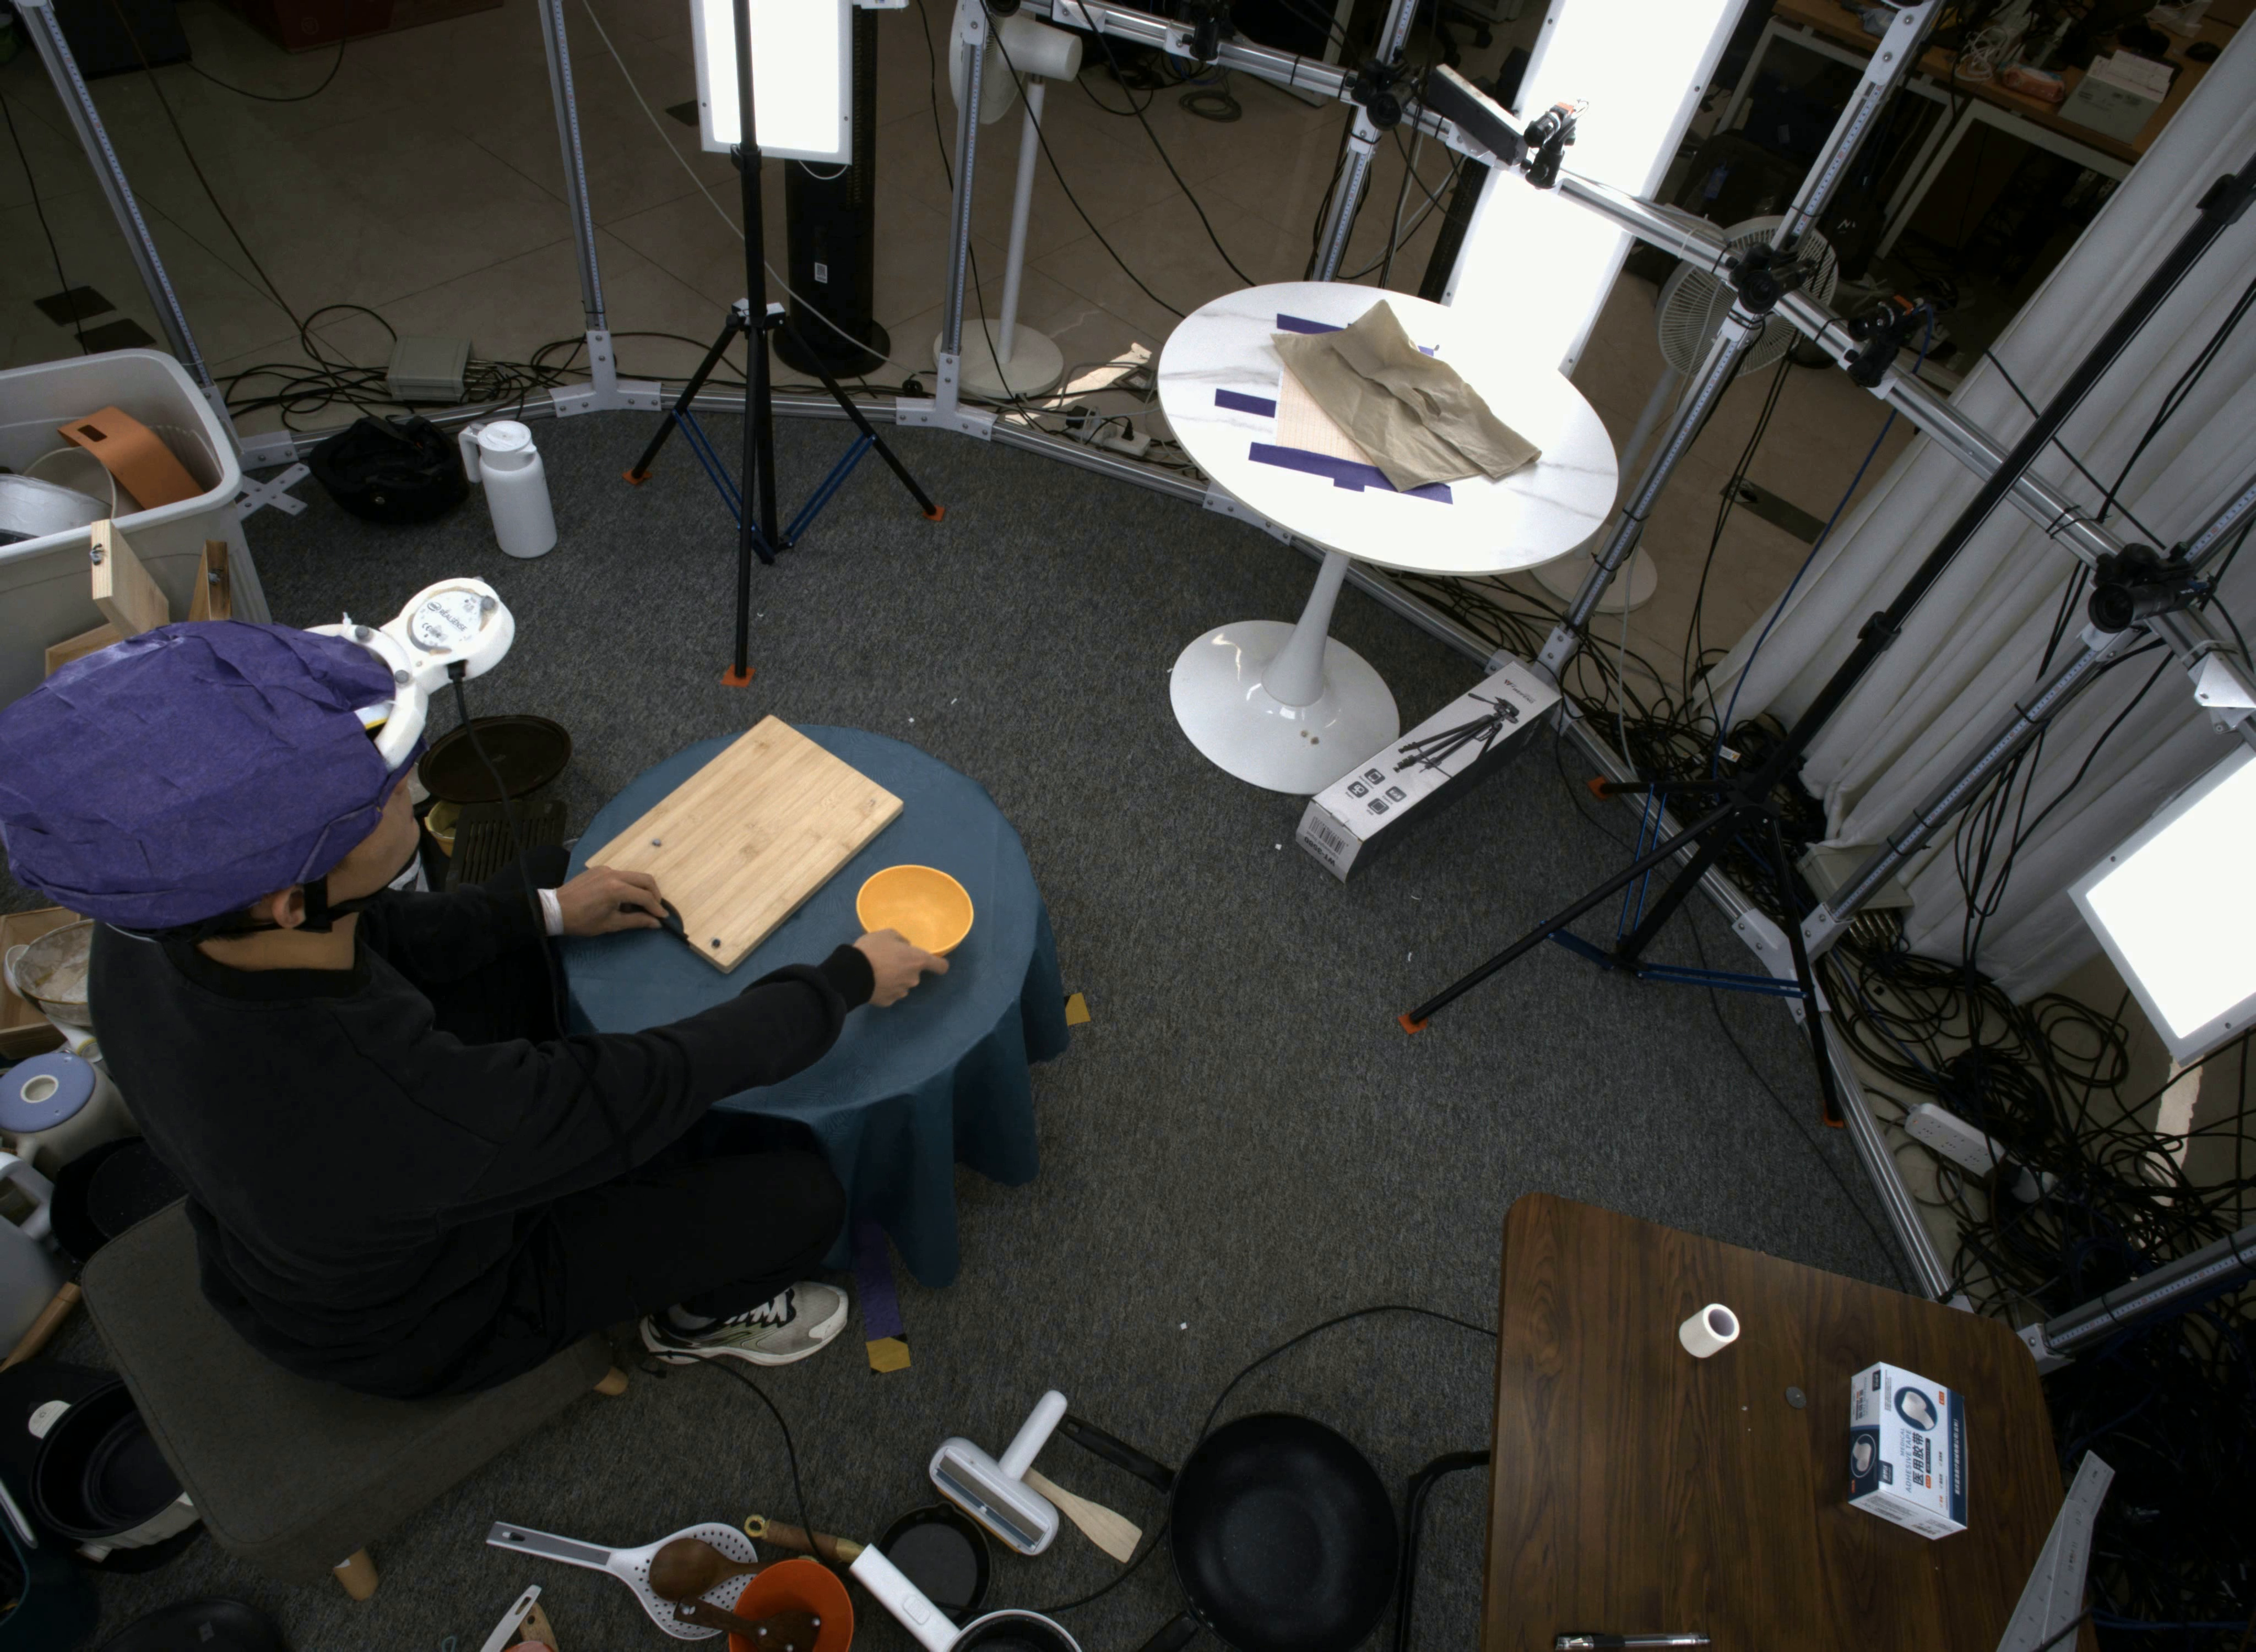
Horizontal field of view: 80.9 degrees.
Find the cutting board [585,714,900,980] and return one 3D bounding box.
[{"bbox_3d":[-0.498,0.015,1.688,0.246,0.024,0.348,32,53,10],"label":"cutting board"}]

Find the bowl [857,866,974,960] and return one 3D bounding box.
[{"bbox_3d":[-0.266,0.119,1.628,0.145,0.061,0.142,10,42,-7],"label":"bowl"}]
